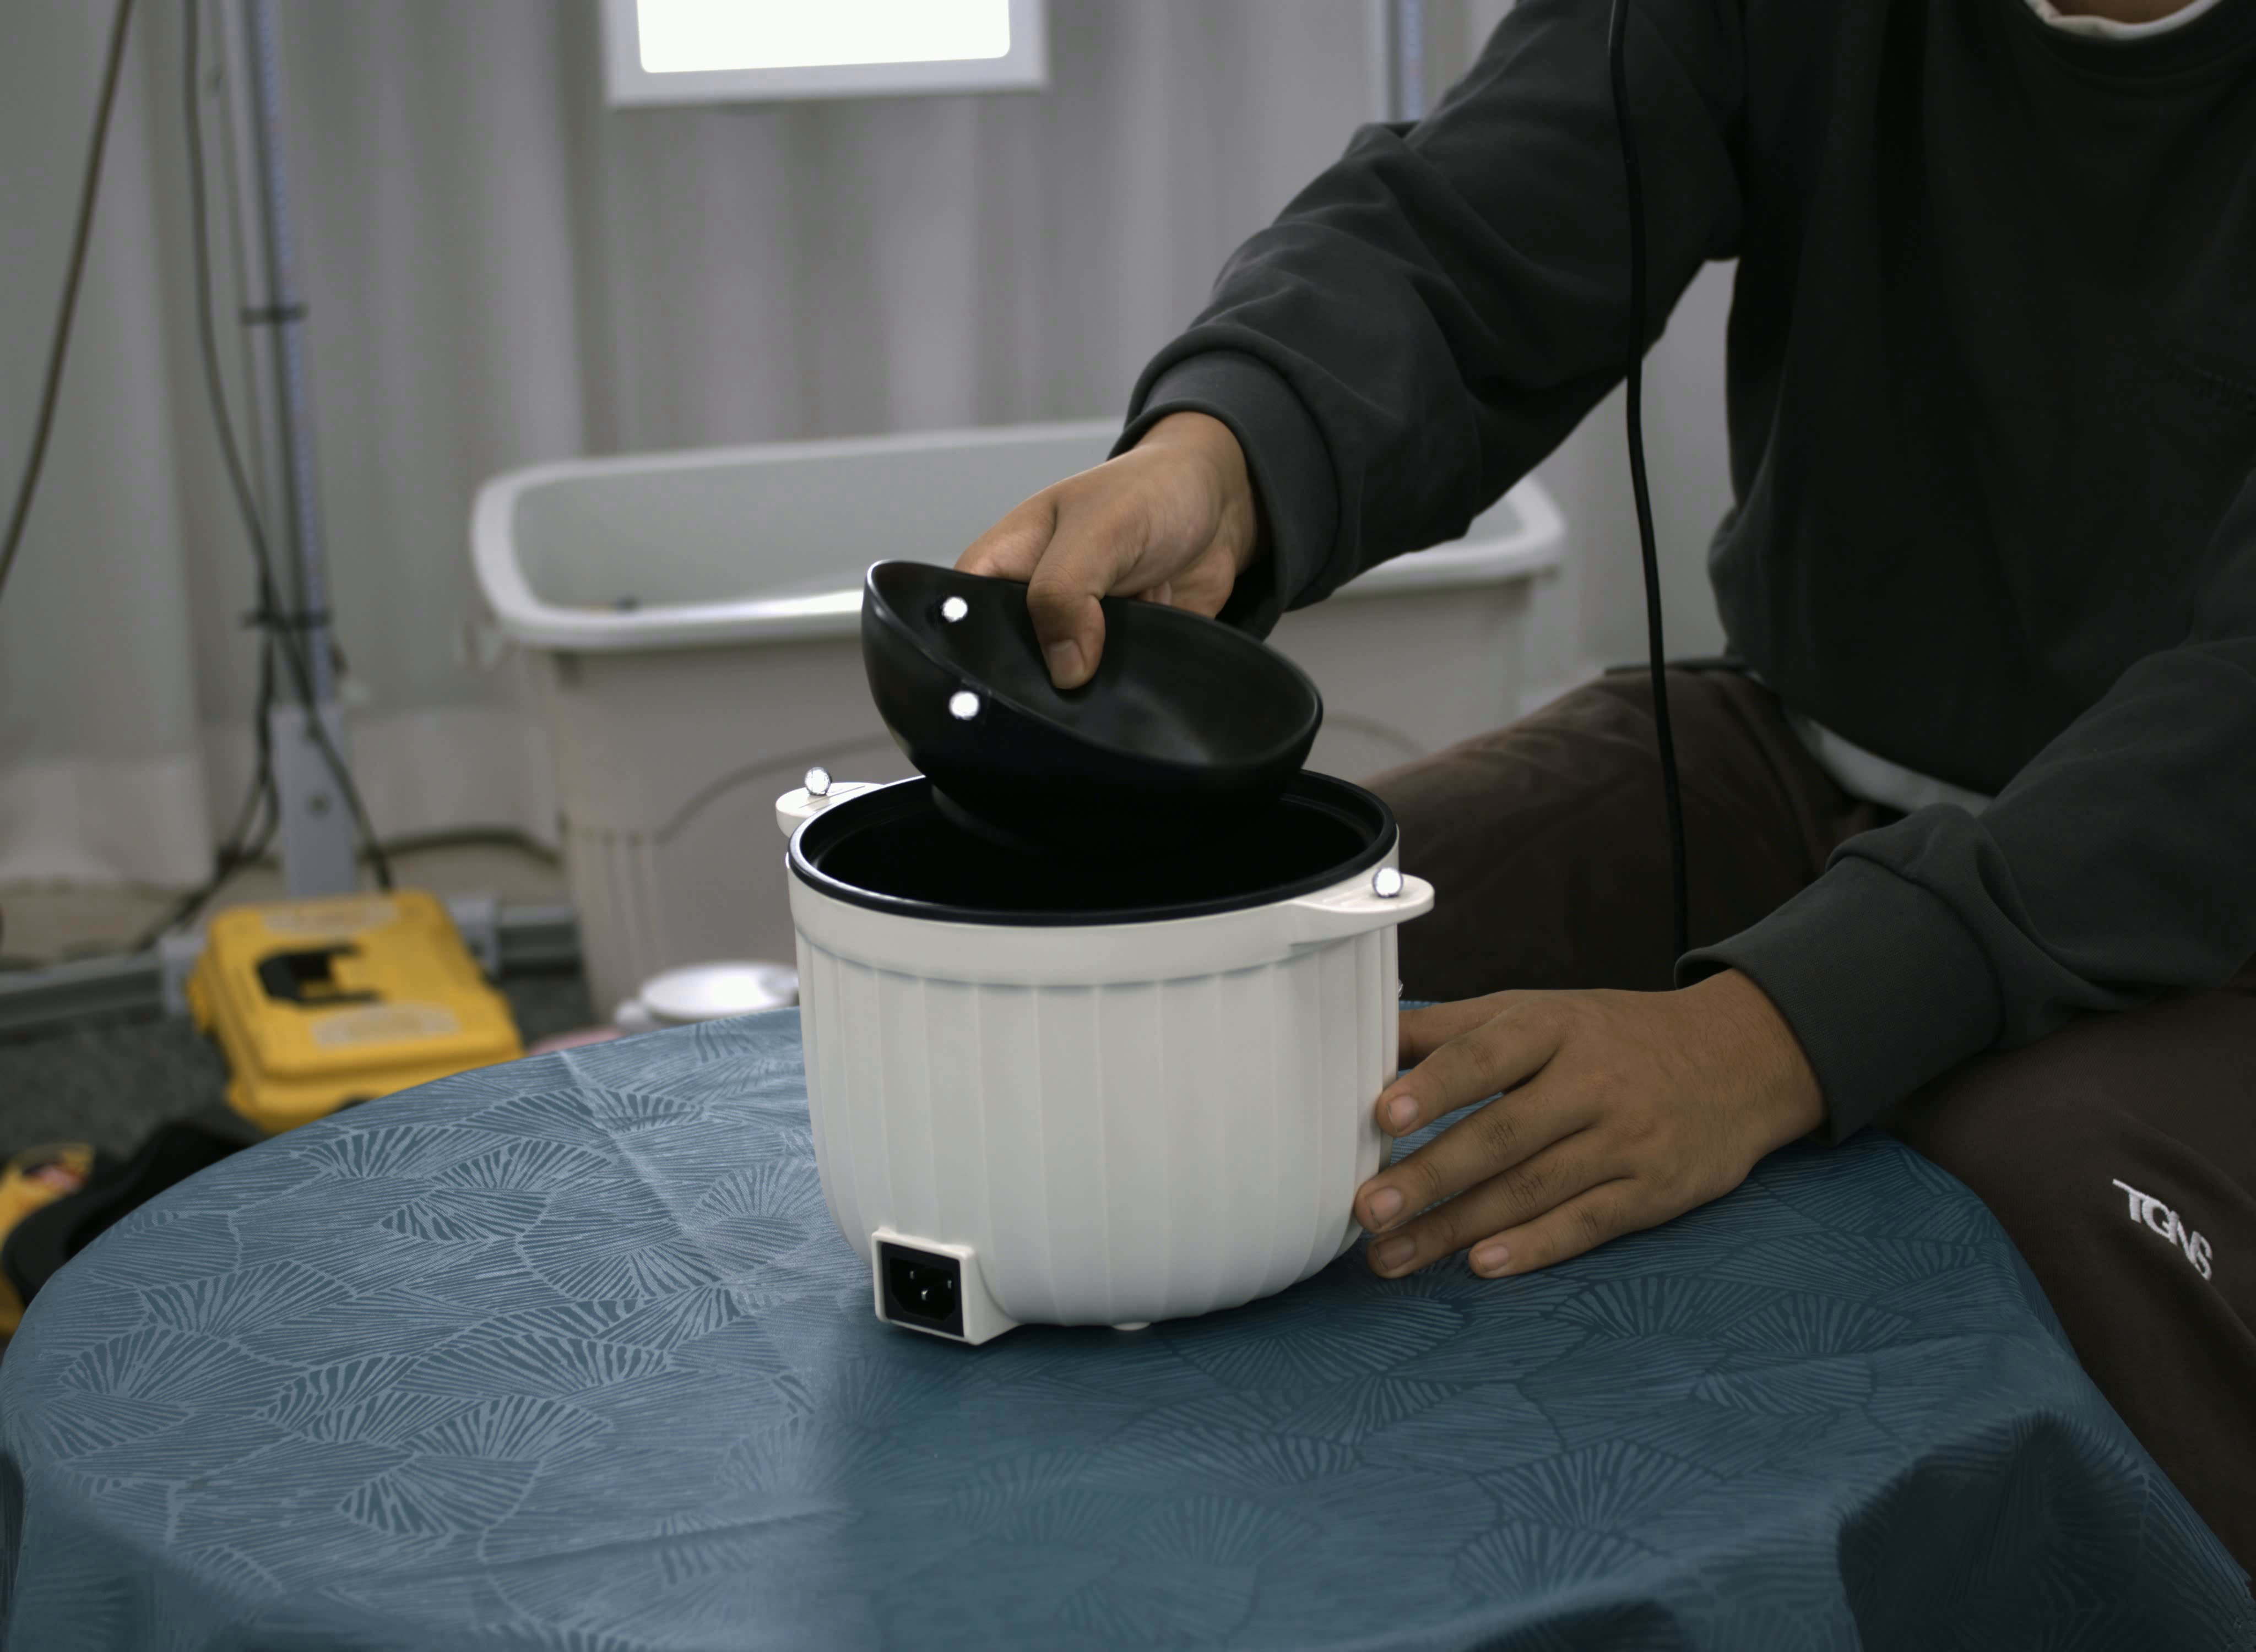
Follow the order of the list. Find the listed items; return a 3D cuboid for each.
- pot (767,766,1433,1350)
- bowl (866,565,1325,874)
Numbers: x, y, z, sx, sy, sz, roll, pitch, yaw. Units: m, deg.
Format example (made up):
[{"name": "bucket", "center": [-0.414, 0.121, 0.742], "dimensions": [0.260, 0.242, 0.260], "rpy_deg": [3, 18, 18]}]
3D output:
[{"name": "pot", "center": [-0.006, 0.064, 1.642], "dimensions": [0.241, 0.142, 0.190], "rpy_deg": [10, 22, 37]}, {"name": "bowl", "center": [-0.019, -0.028, 1.632], "dimensions": [0.136, 0.066, 0.172], "rpy_deg": [10, 19, -22]}]
